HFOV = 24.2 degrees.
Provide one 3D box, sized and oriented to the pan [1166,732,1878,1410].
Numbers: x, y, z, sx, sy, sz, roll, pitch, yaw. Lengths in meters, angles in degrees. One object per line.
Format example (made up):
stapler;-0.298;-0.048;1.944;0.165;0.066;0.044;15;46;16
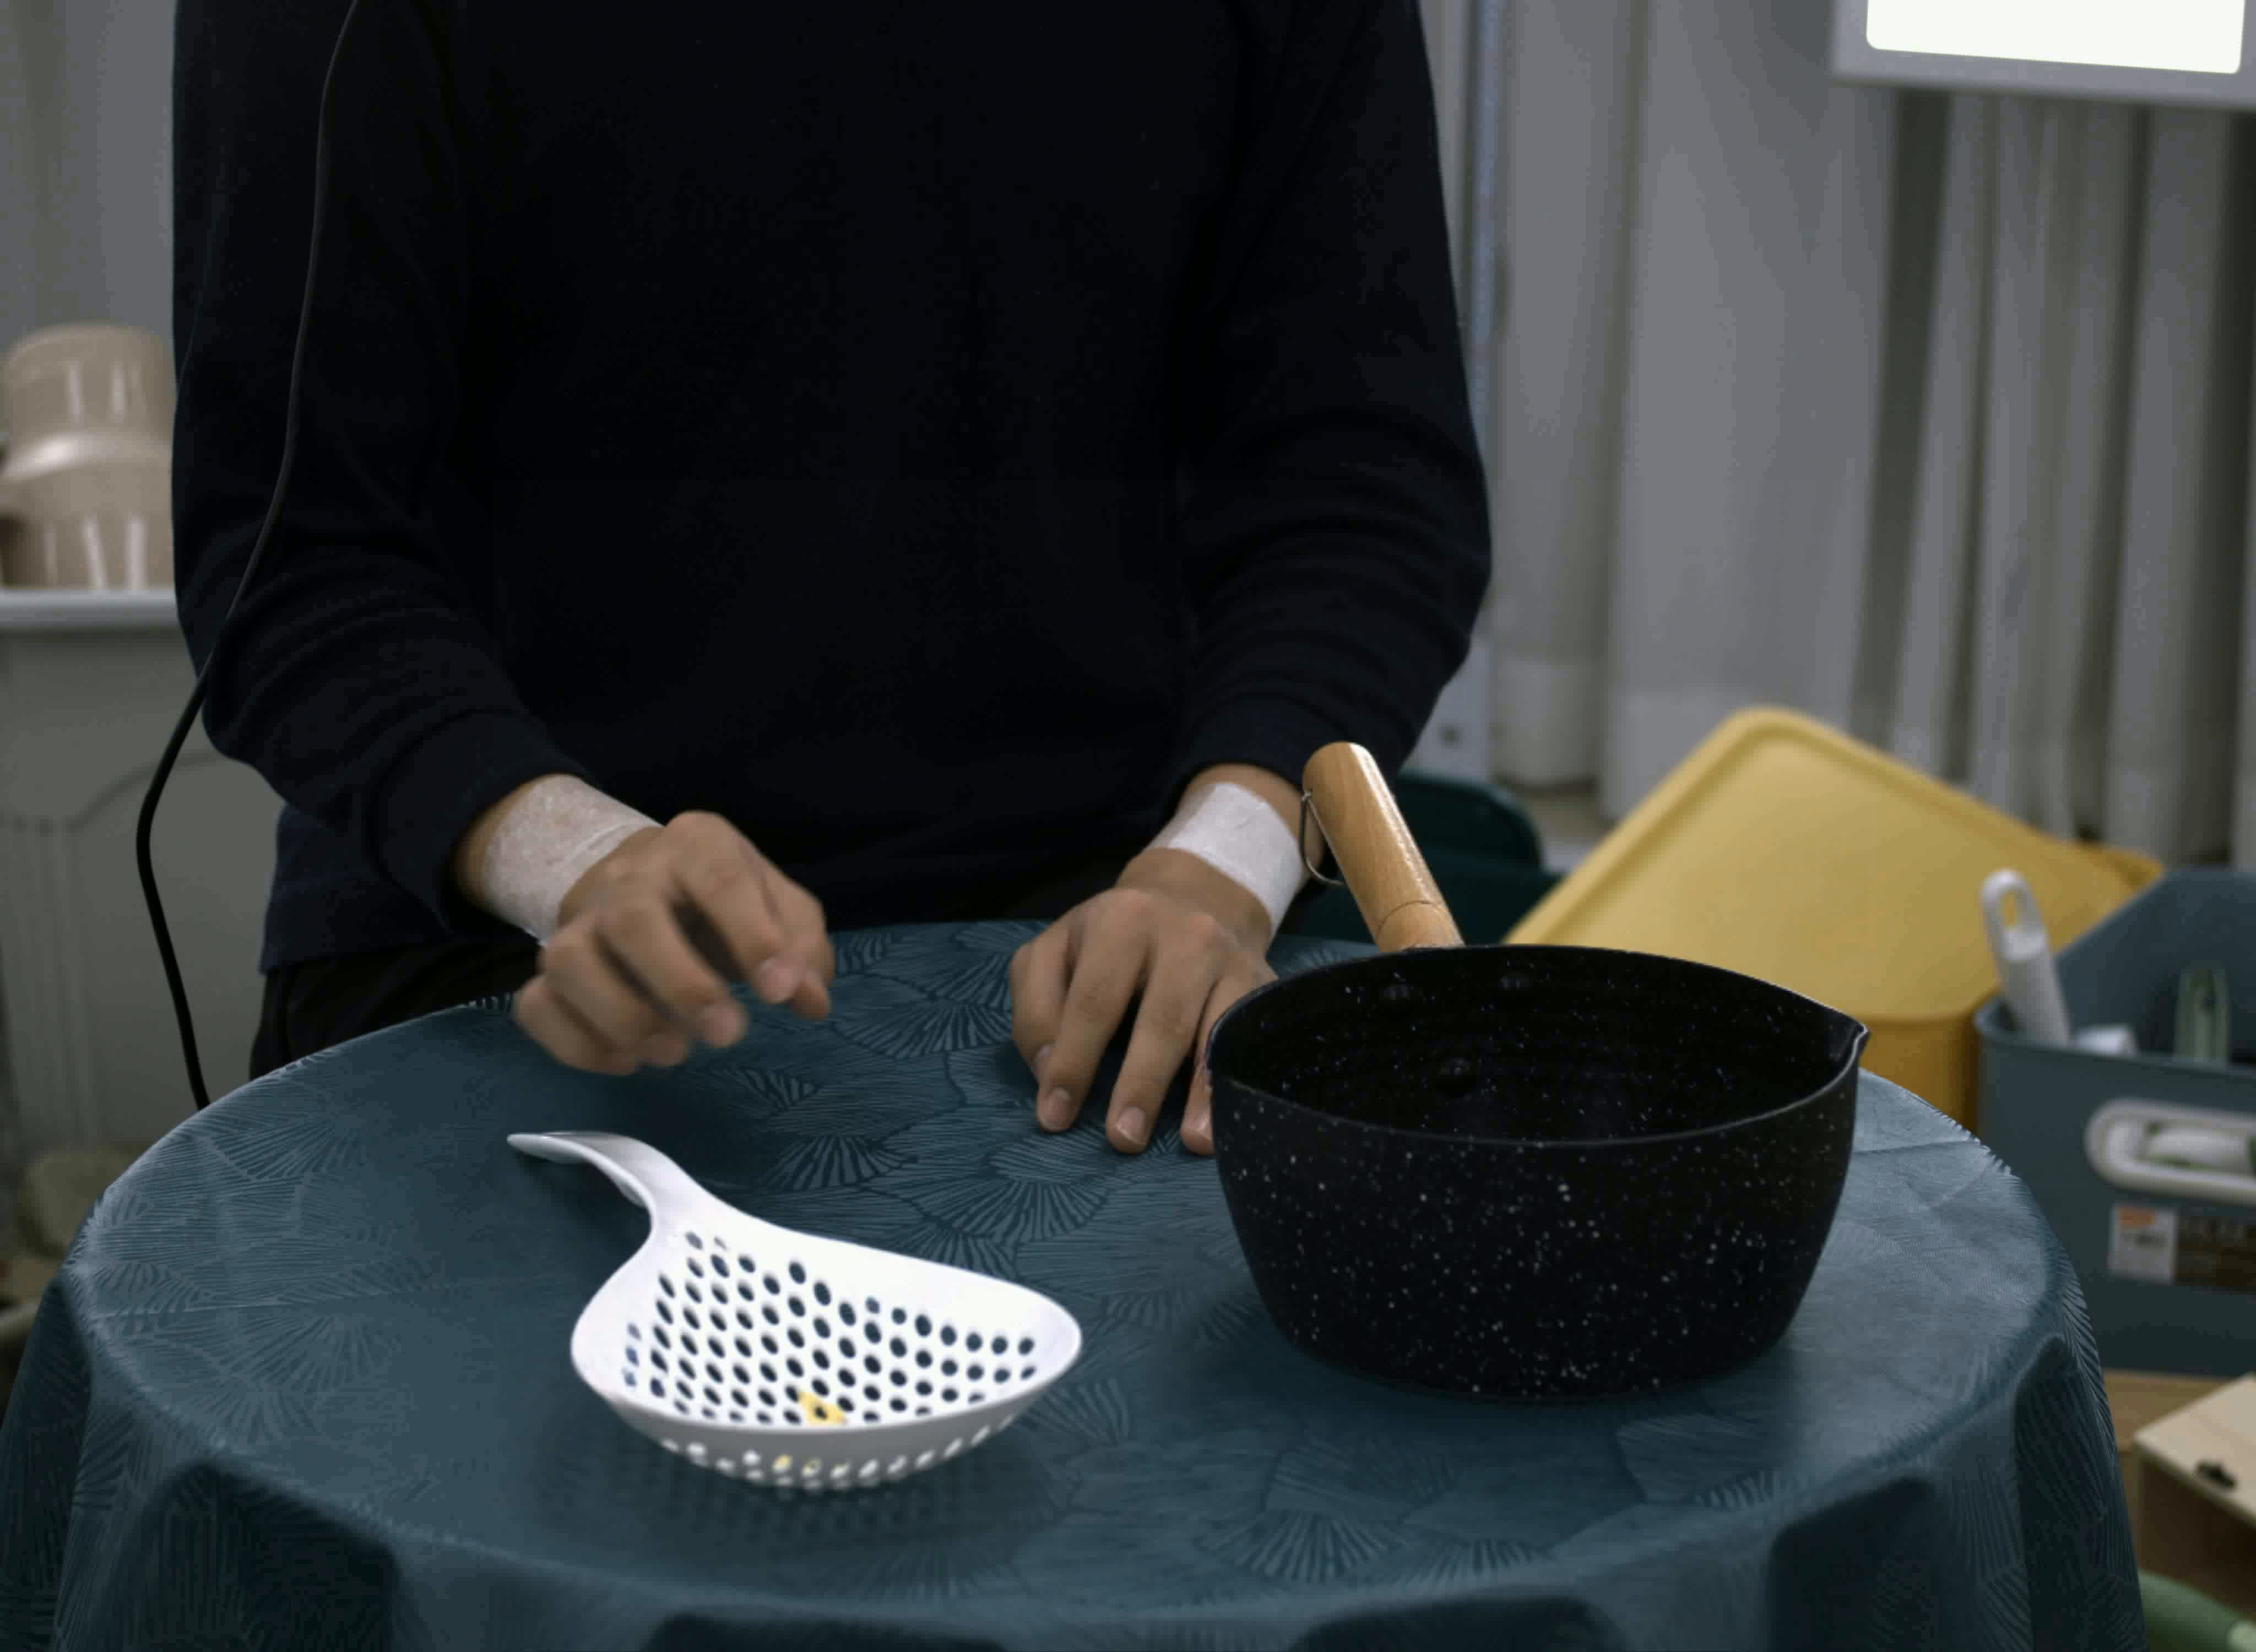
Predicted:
pan;0.099;0.068;1.583;0.207;0.109;0.339;-4;18;-12

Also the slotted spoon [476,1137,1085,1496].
slotted spoon;-0.123;0.124;1.496;0.137;0.051;0.343;-8;19;-22
